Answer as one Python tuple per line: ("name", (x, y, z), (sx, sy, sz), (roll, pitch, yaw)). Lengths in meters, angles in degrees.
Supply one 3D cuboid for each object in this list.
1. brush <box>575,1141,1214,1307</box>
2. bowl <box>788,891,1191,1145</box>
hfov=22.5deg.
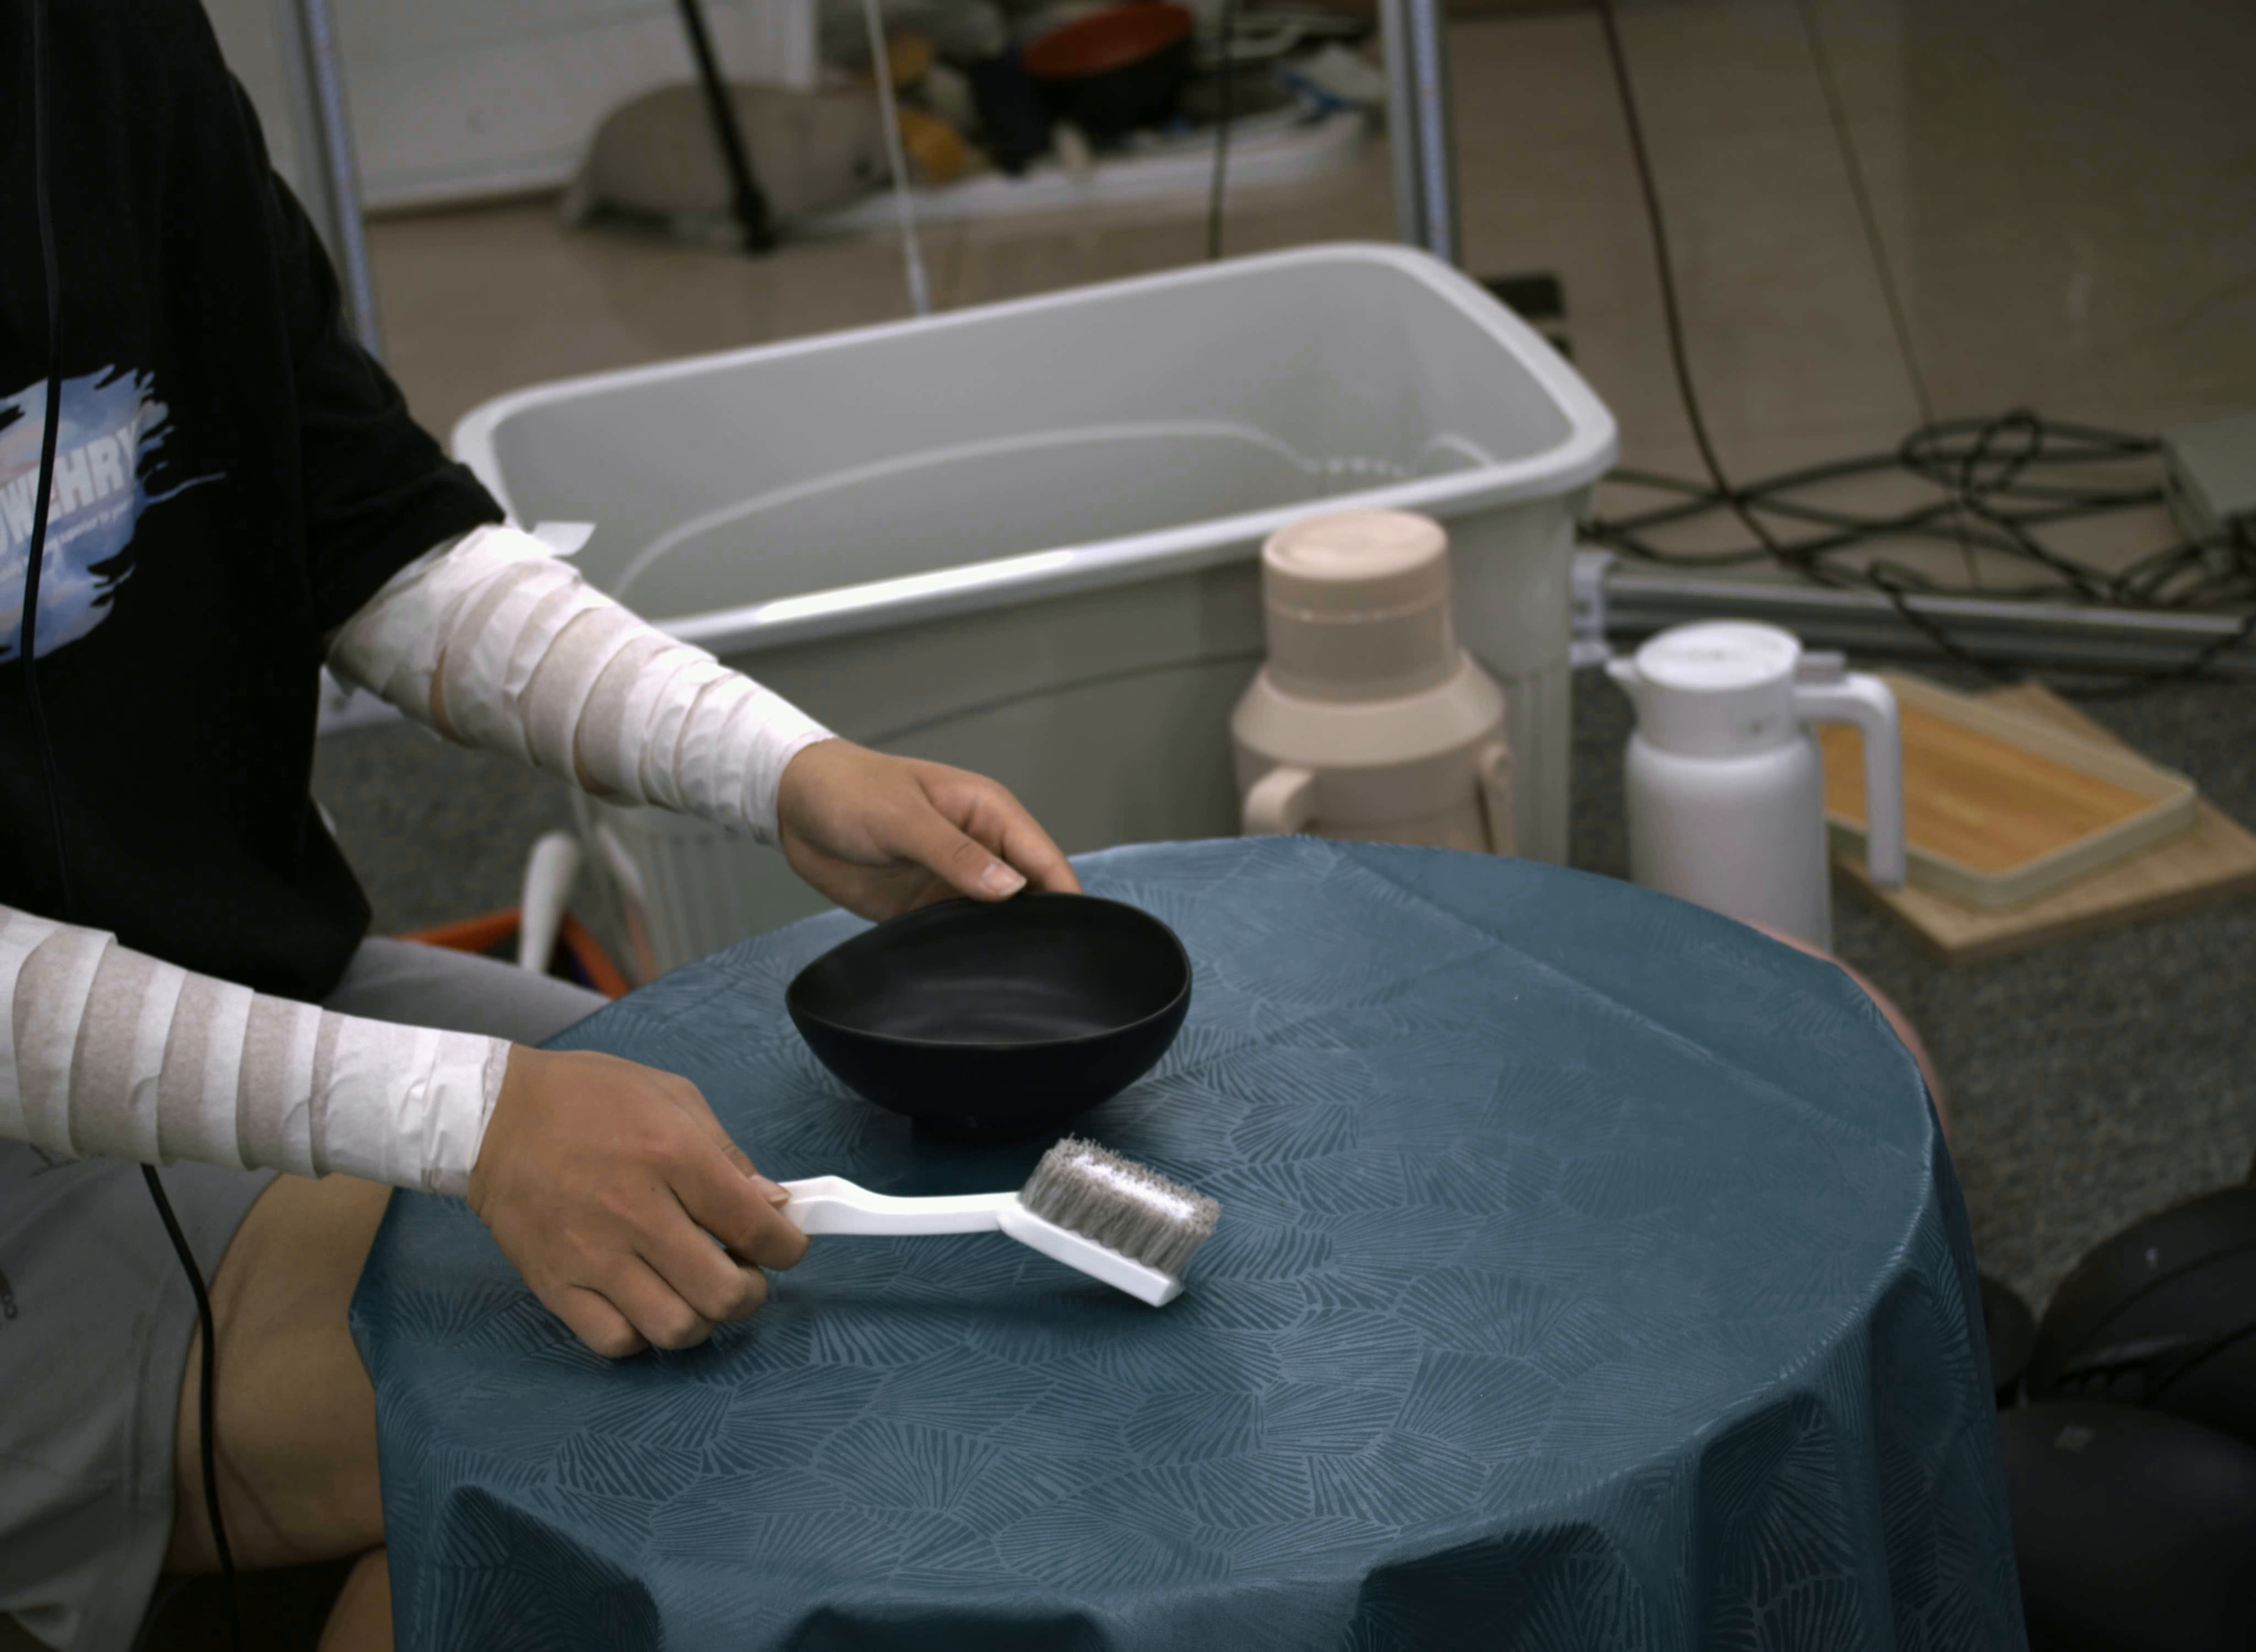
("brush", (-0.088, 0.129, 2.082), (0.243, 0.051, 0.034), (10, 26, 14))
("bowl", (-0.053, 0.082, 2.209), (0.170, 0.068, 0.135), (5, 27, 29))
